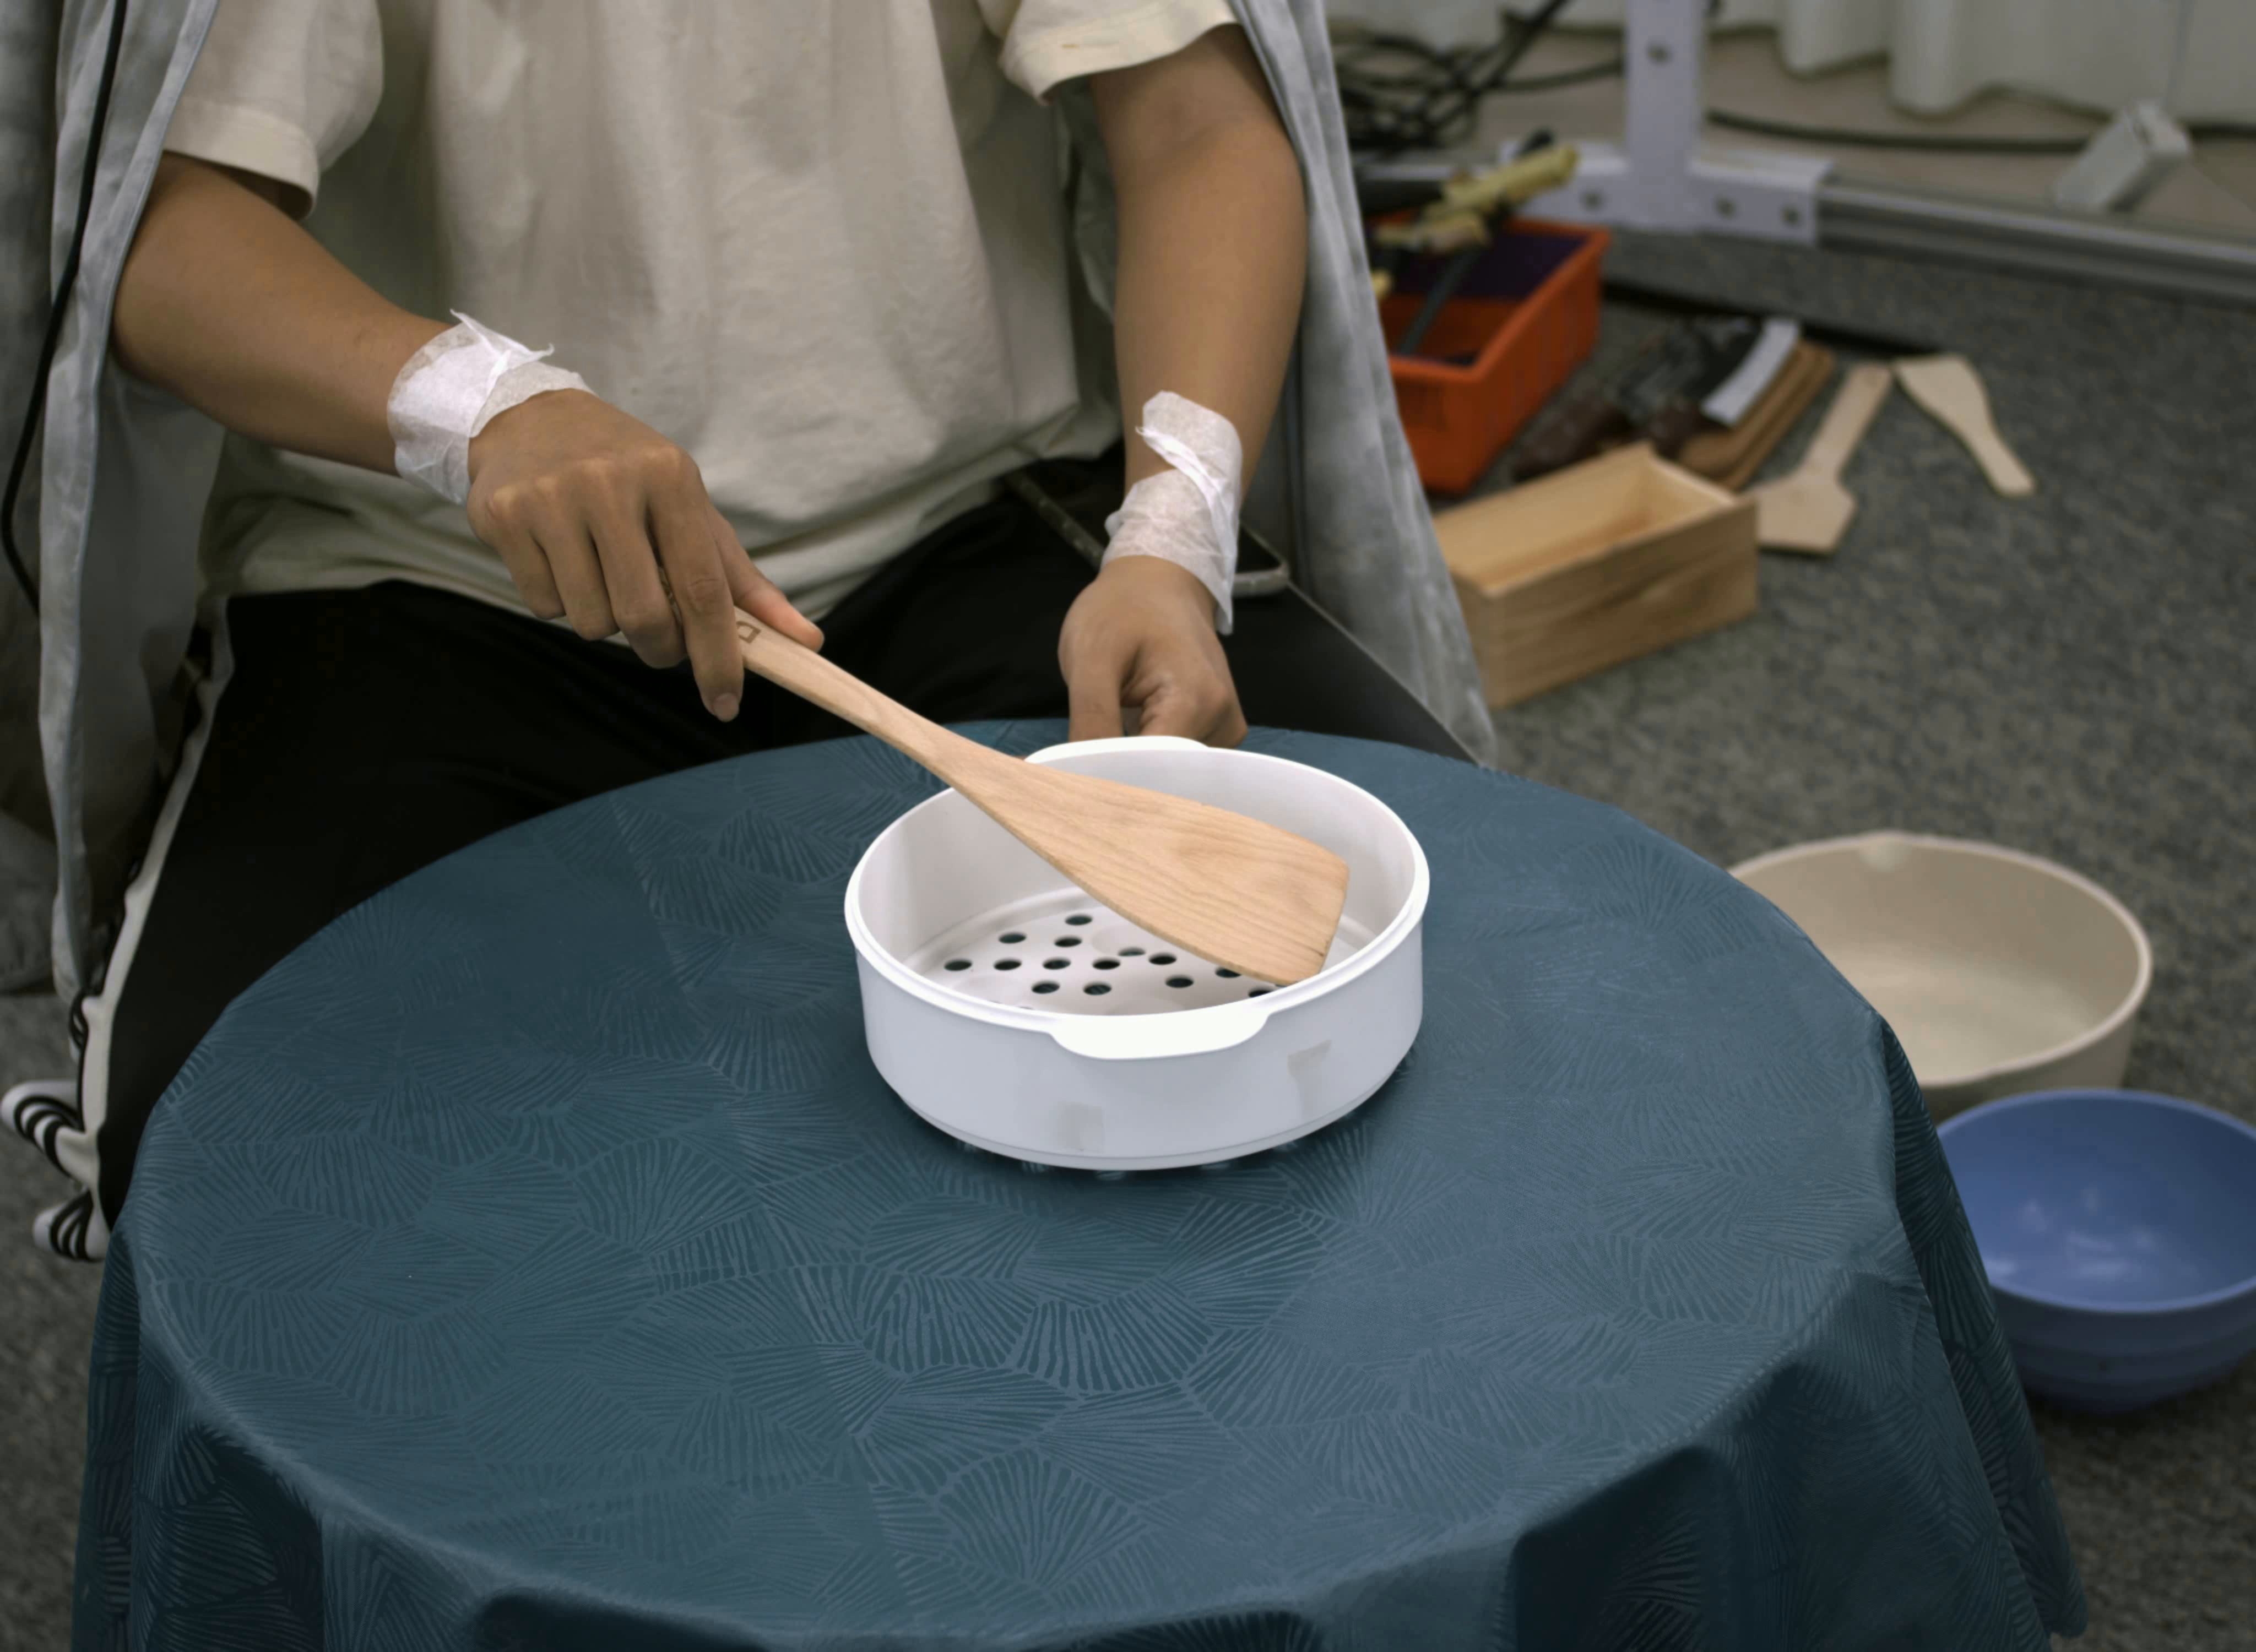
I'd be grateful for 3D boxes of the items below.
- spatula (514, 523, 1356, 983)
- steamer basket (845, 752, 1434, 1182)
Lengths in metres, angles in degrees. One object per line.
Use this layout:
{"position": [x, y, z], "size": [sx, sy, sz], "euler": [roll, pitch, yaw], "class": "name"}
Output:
{"position": [-0.068, -0.033, 1.951], "size": [0.327, 0.016, 0.081], "euler": [27, 38, 8], "class": "spatula"}
{"position": [0.005, 0.050, 1.929], "size": [0.201, 0.068, 0.234], "euler": [-3, 26, -3], "class": "steamer basket"}
